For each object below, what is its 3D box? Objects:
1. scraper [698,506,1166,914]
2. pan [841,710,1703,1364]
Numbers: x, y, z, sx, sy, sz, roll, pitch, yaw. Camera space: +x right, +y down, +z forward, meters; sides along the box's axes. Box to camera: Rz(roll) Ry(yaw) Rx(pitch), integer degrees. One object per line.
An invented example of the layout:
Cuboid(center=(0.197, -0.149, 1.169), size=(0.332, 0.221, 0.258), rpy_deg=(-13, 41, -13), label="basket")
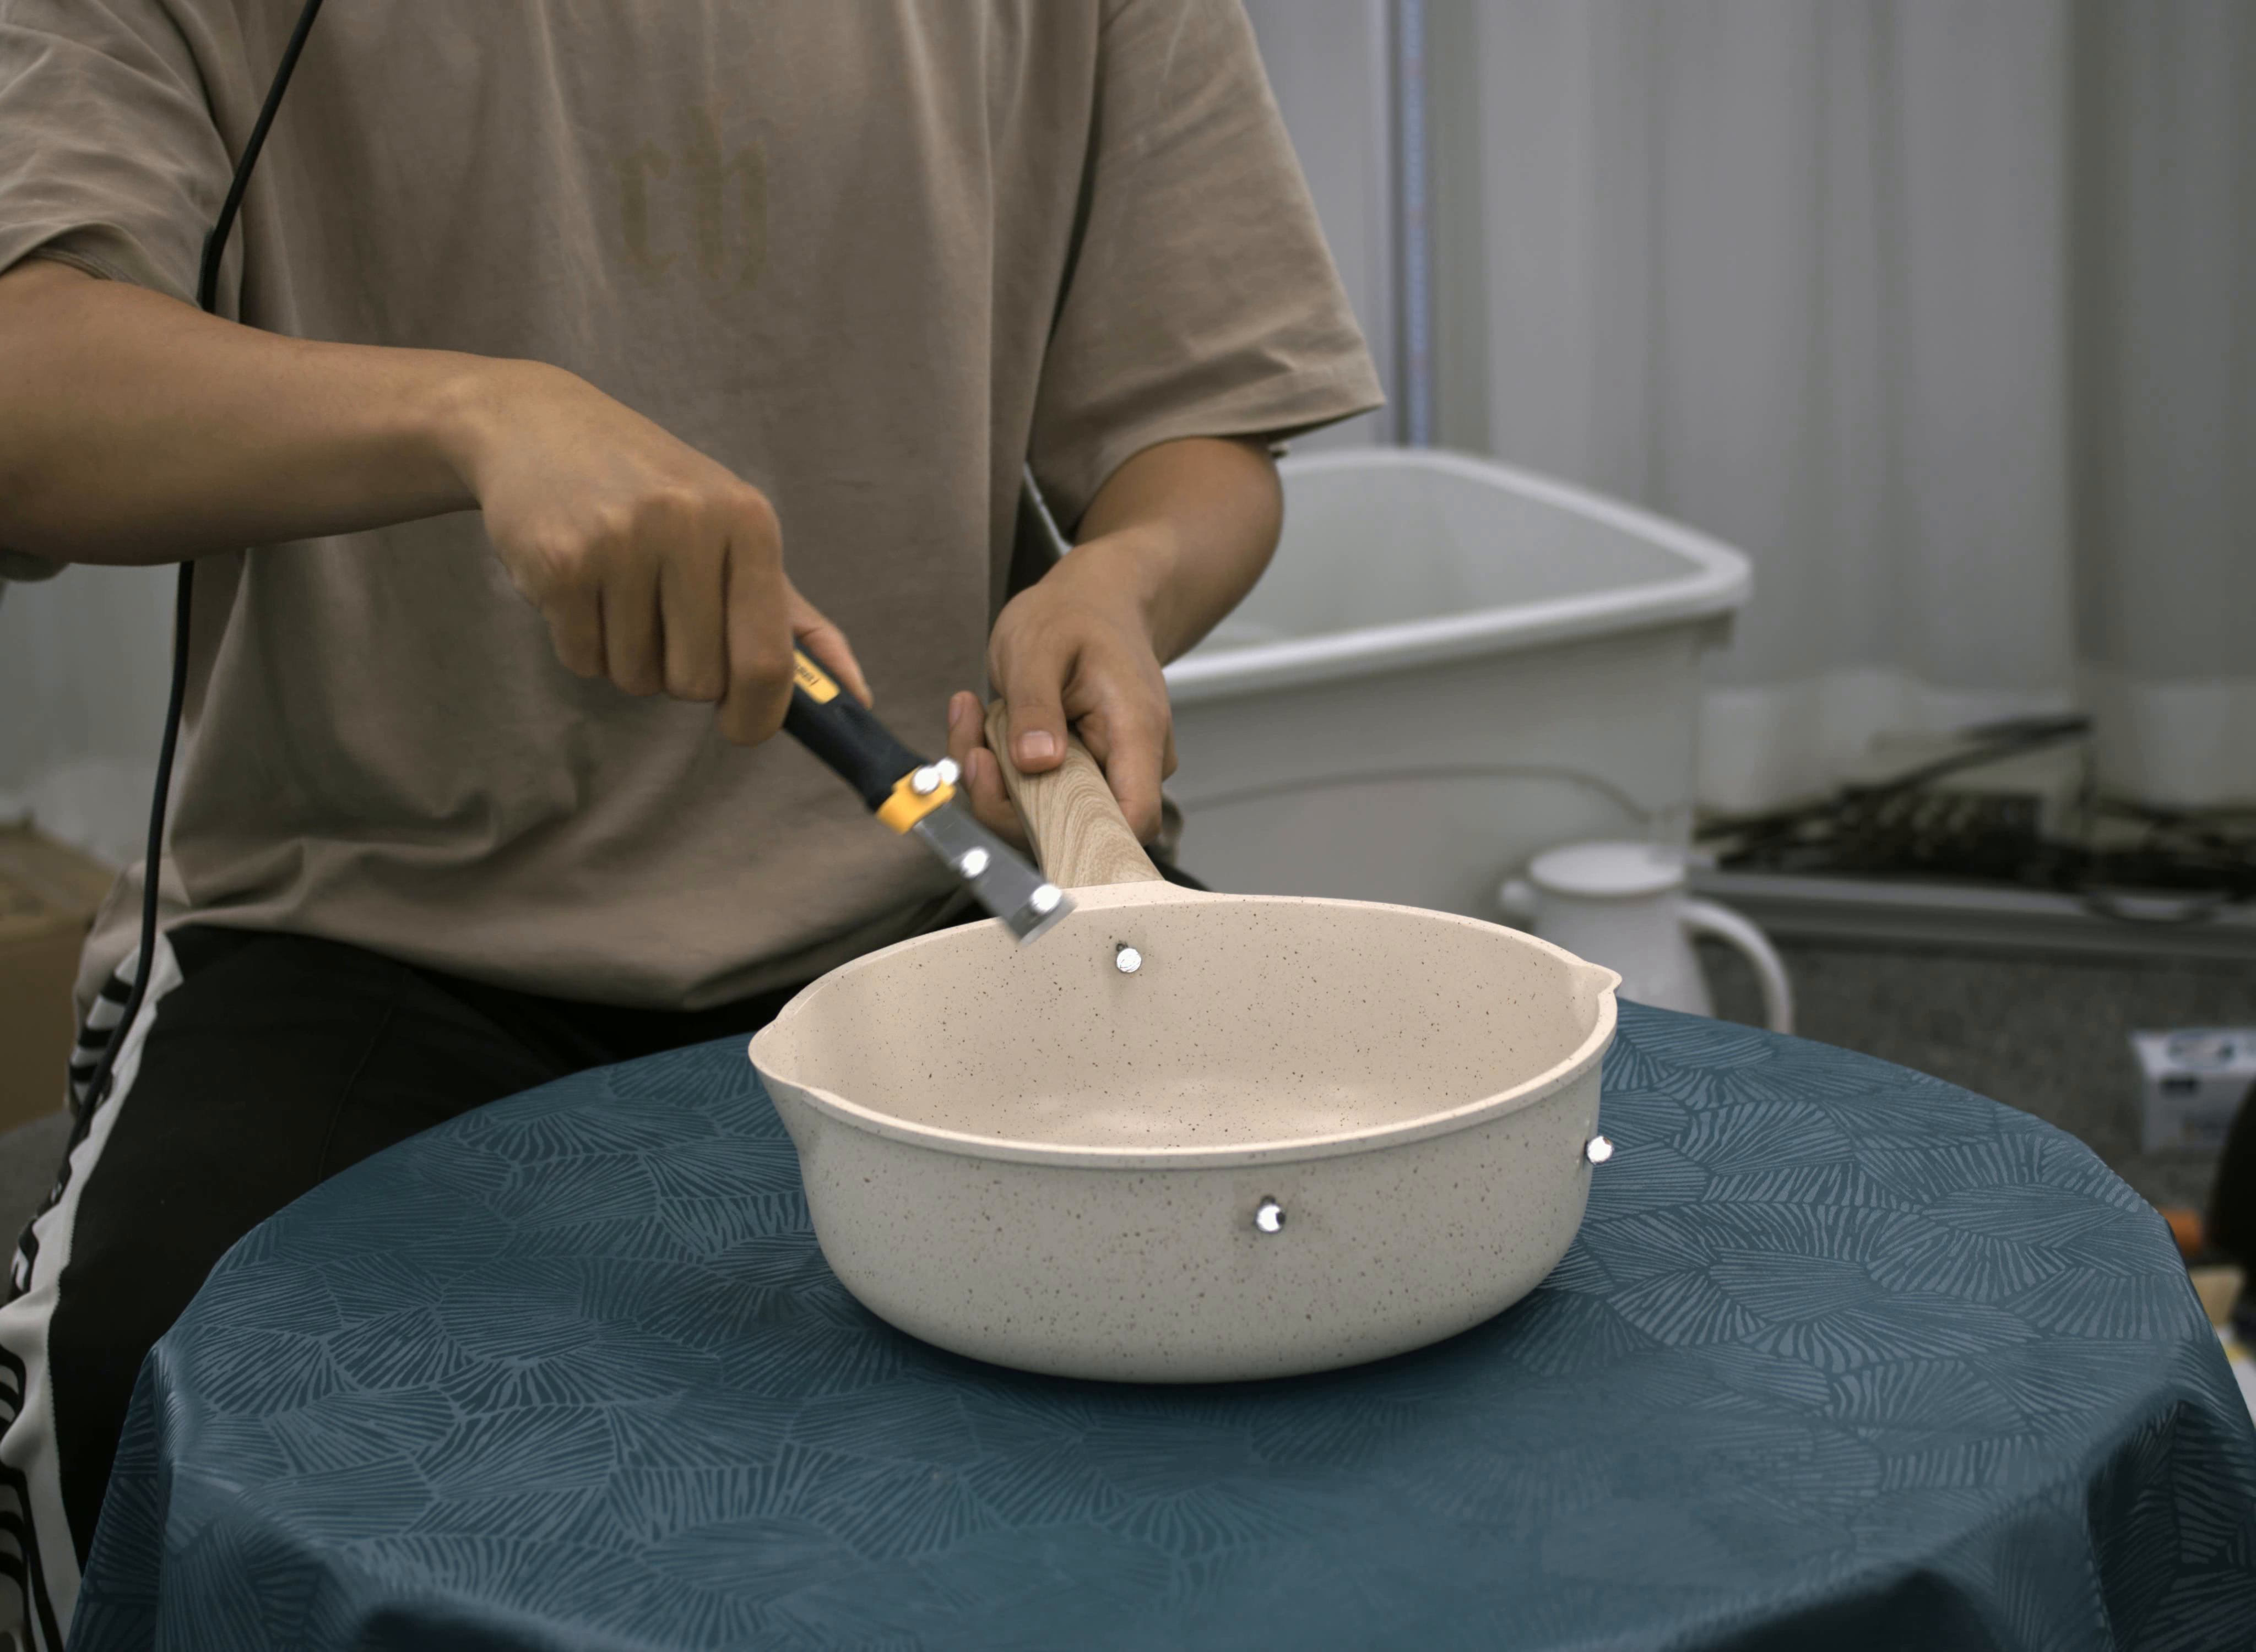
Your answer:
Cuboid(center=(-0.060, -0.036, 1.623), size=(0.171, 0.015, 0.039), rpy_deg=(41, 36, 5), label="scraper")
Cuboid(center=(0.030, 0.060, 1.718), size=(0.262, 0.101, 0.438), rpy_deg=(-8, 15, -9), label="pan")
